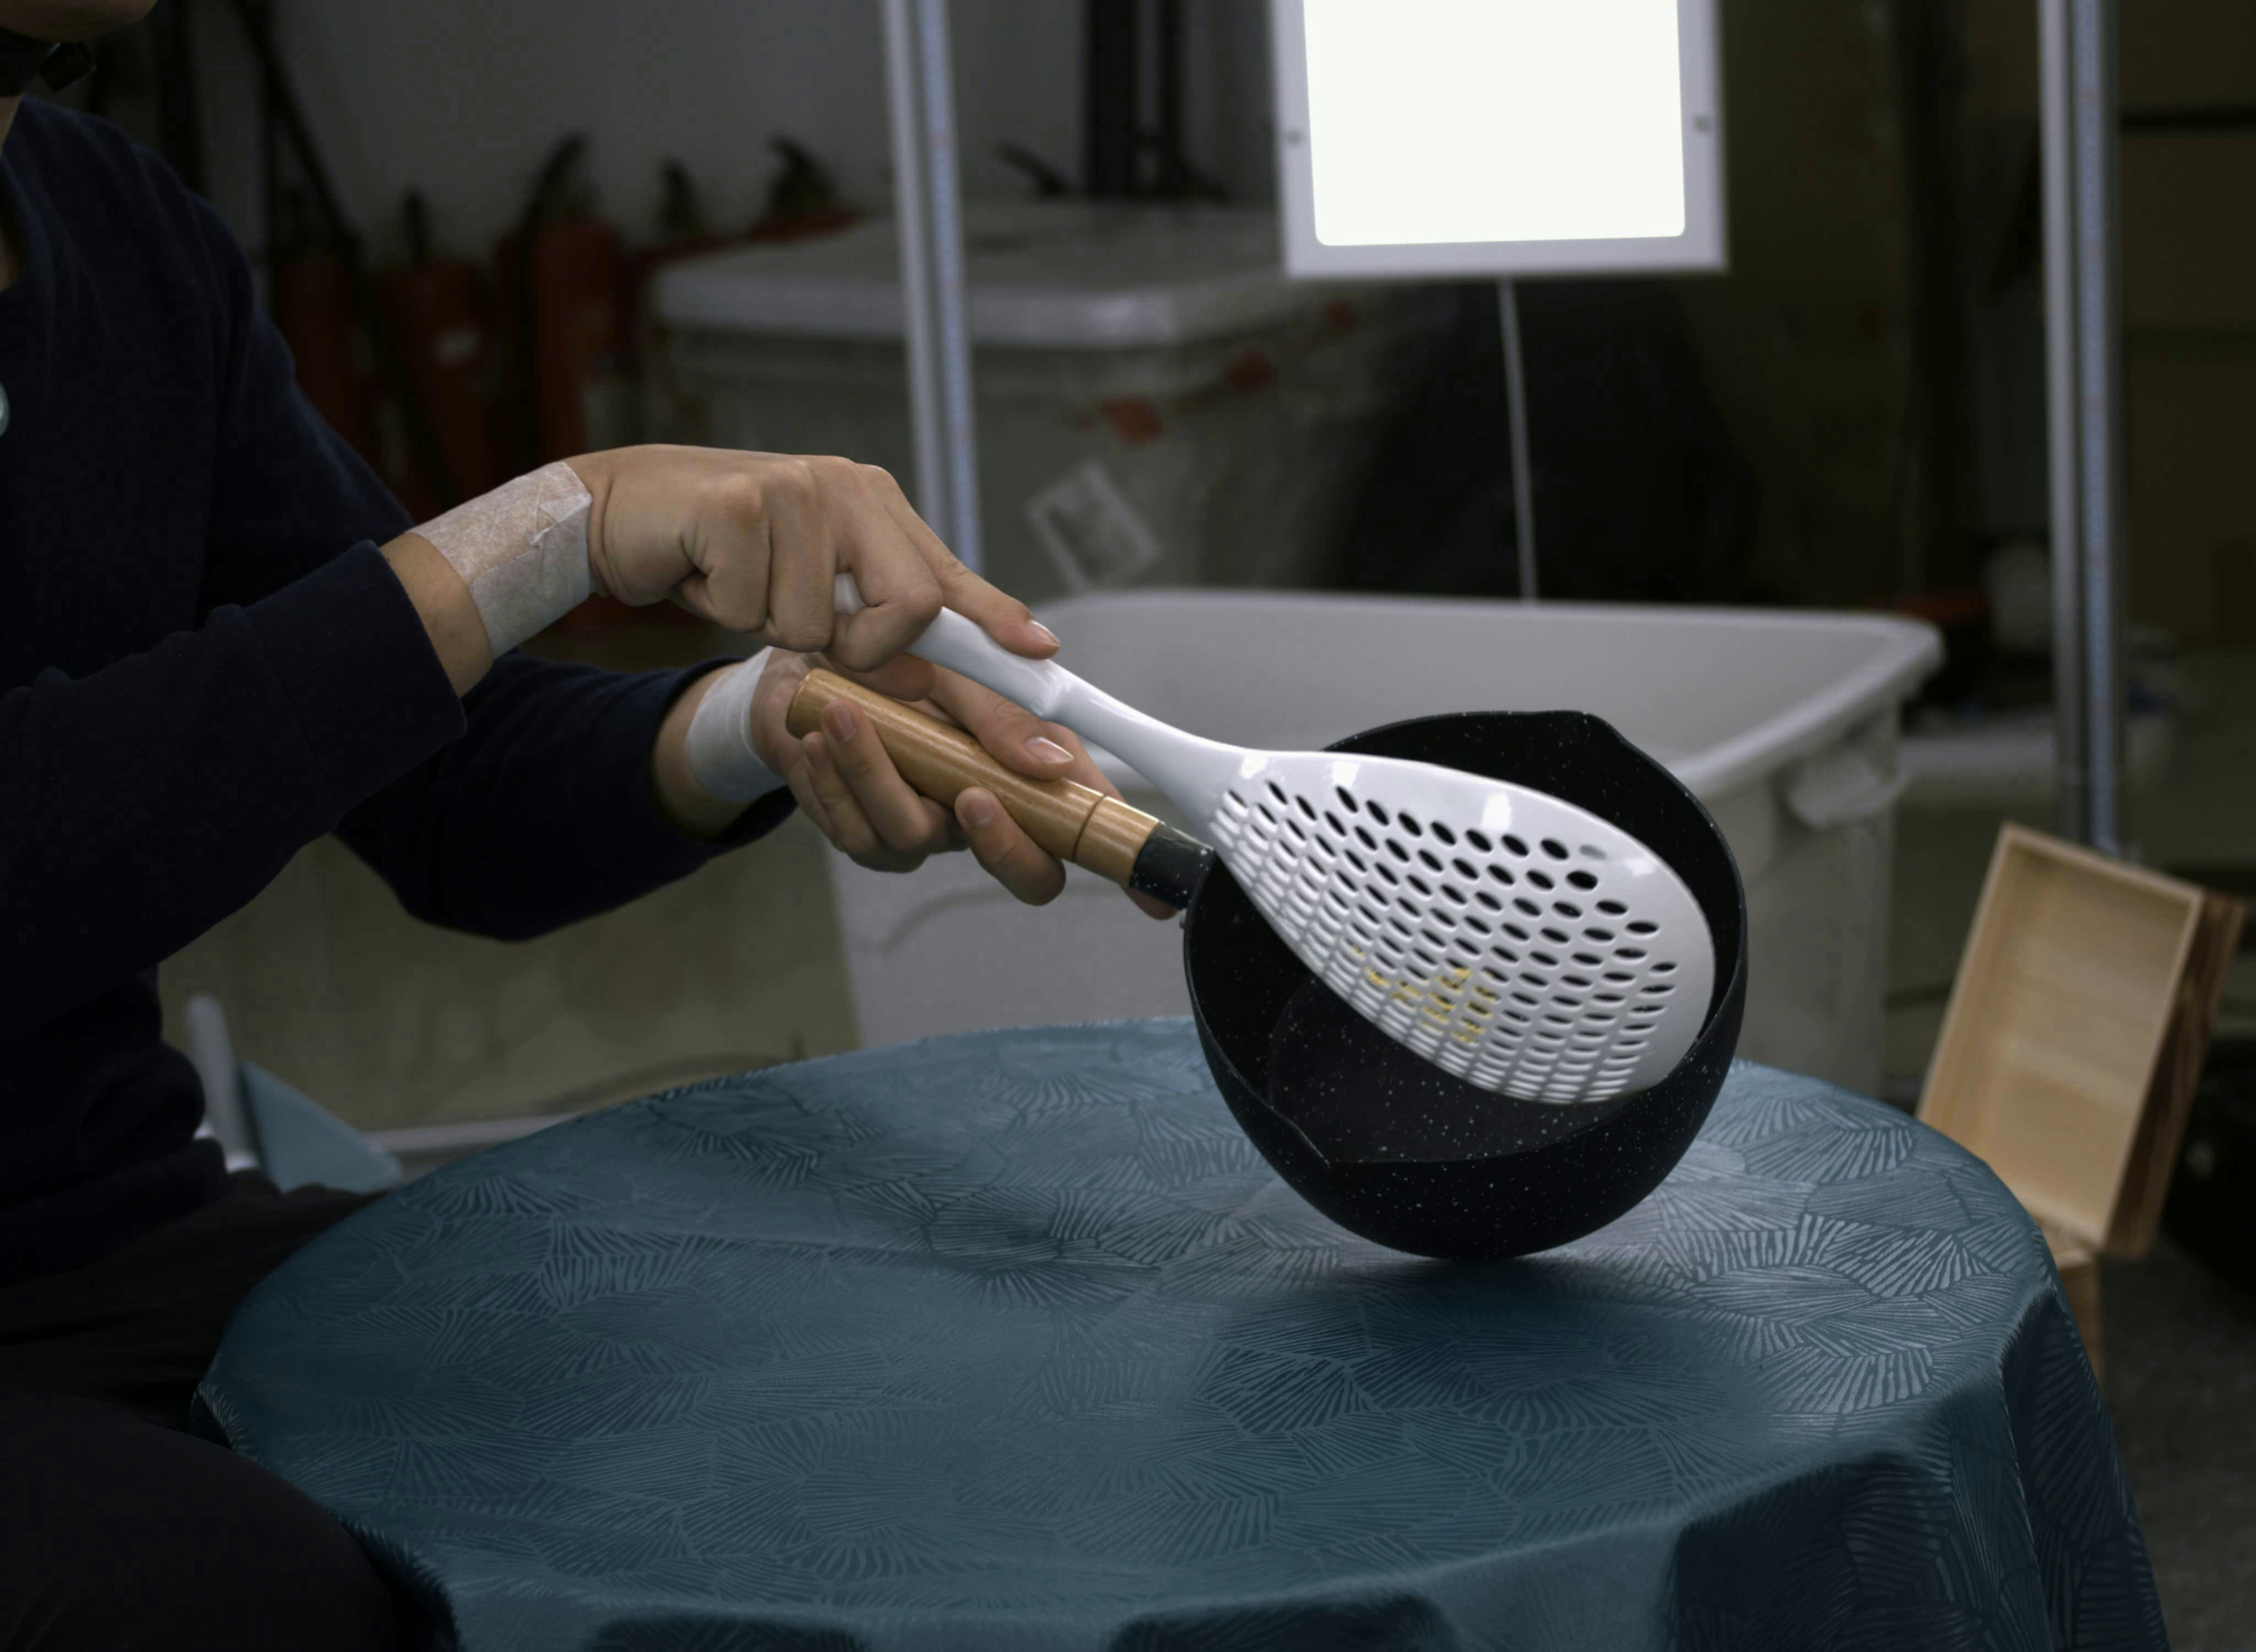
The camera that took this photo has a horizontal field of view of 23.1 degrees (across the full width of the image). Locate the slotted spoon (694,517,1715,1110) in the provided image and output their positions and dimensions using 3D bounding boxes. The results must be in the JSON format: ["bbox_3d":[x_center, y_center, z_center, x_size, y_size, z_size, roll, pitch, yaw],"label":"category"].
[{"bbox_3d":[0.020,-0.011,1.720,0.349,0.138,0.049,32,52,9],"label":"slotted spoon"}]

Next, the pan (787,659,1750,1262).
[{"bbox_3d":[0.042,0.030,1.834,0.347,0.108,0.205,17,58,22],"label":"pan"}]
